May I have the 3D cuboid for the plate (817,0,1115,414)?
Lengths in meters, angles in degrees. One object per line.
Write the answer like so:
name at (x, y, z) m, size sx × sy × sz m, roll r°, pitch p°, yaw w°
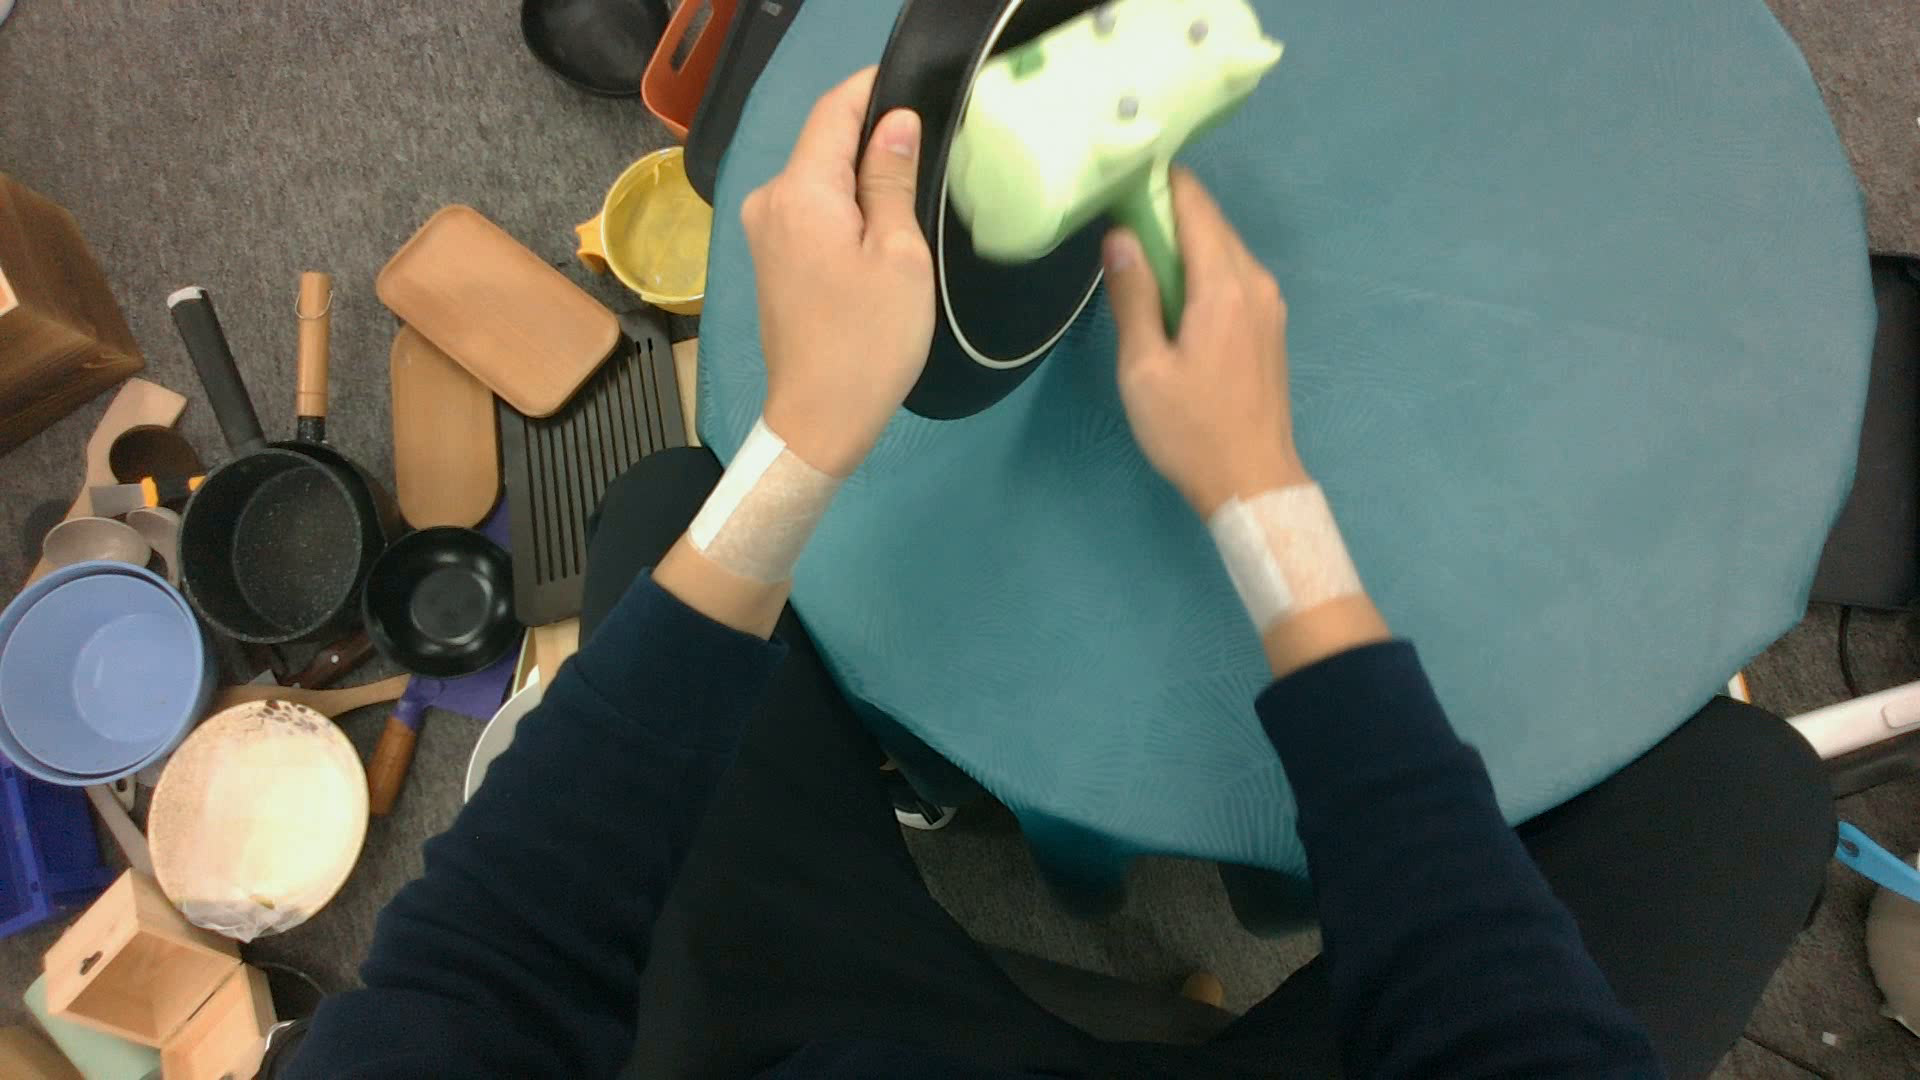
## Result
plate at (0.019, -0.172, 0.616) m, size 0.023 × 0.244 × 0.245 m, roll 19°, pitch 80°, yaw 27°

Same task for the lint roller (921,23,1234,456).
lint roller at (0.088, -0.123, 0.606) m, size 0.183 × 0.082 × 0.199 m, roll 55°, pitch 46°, yaw -10°
